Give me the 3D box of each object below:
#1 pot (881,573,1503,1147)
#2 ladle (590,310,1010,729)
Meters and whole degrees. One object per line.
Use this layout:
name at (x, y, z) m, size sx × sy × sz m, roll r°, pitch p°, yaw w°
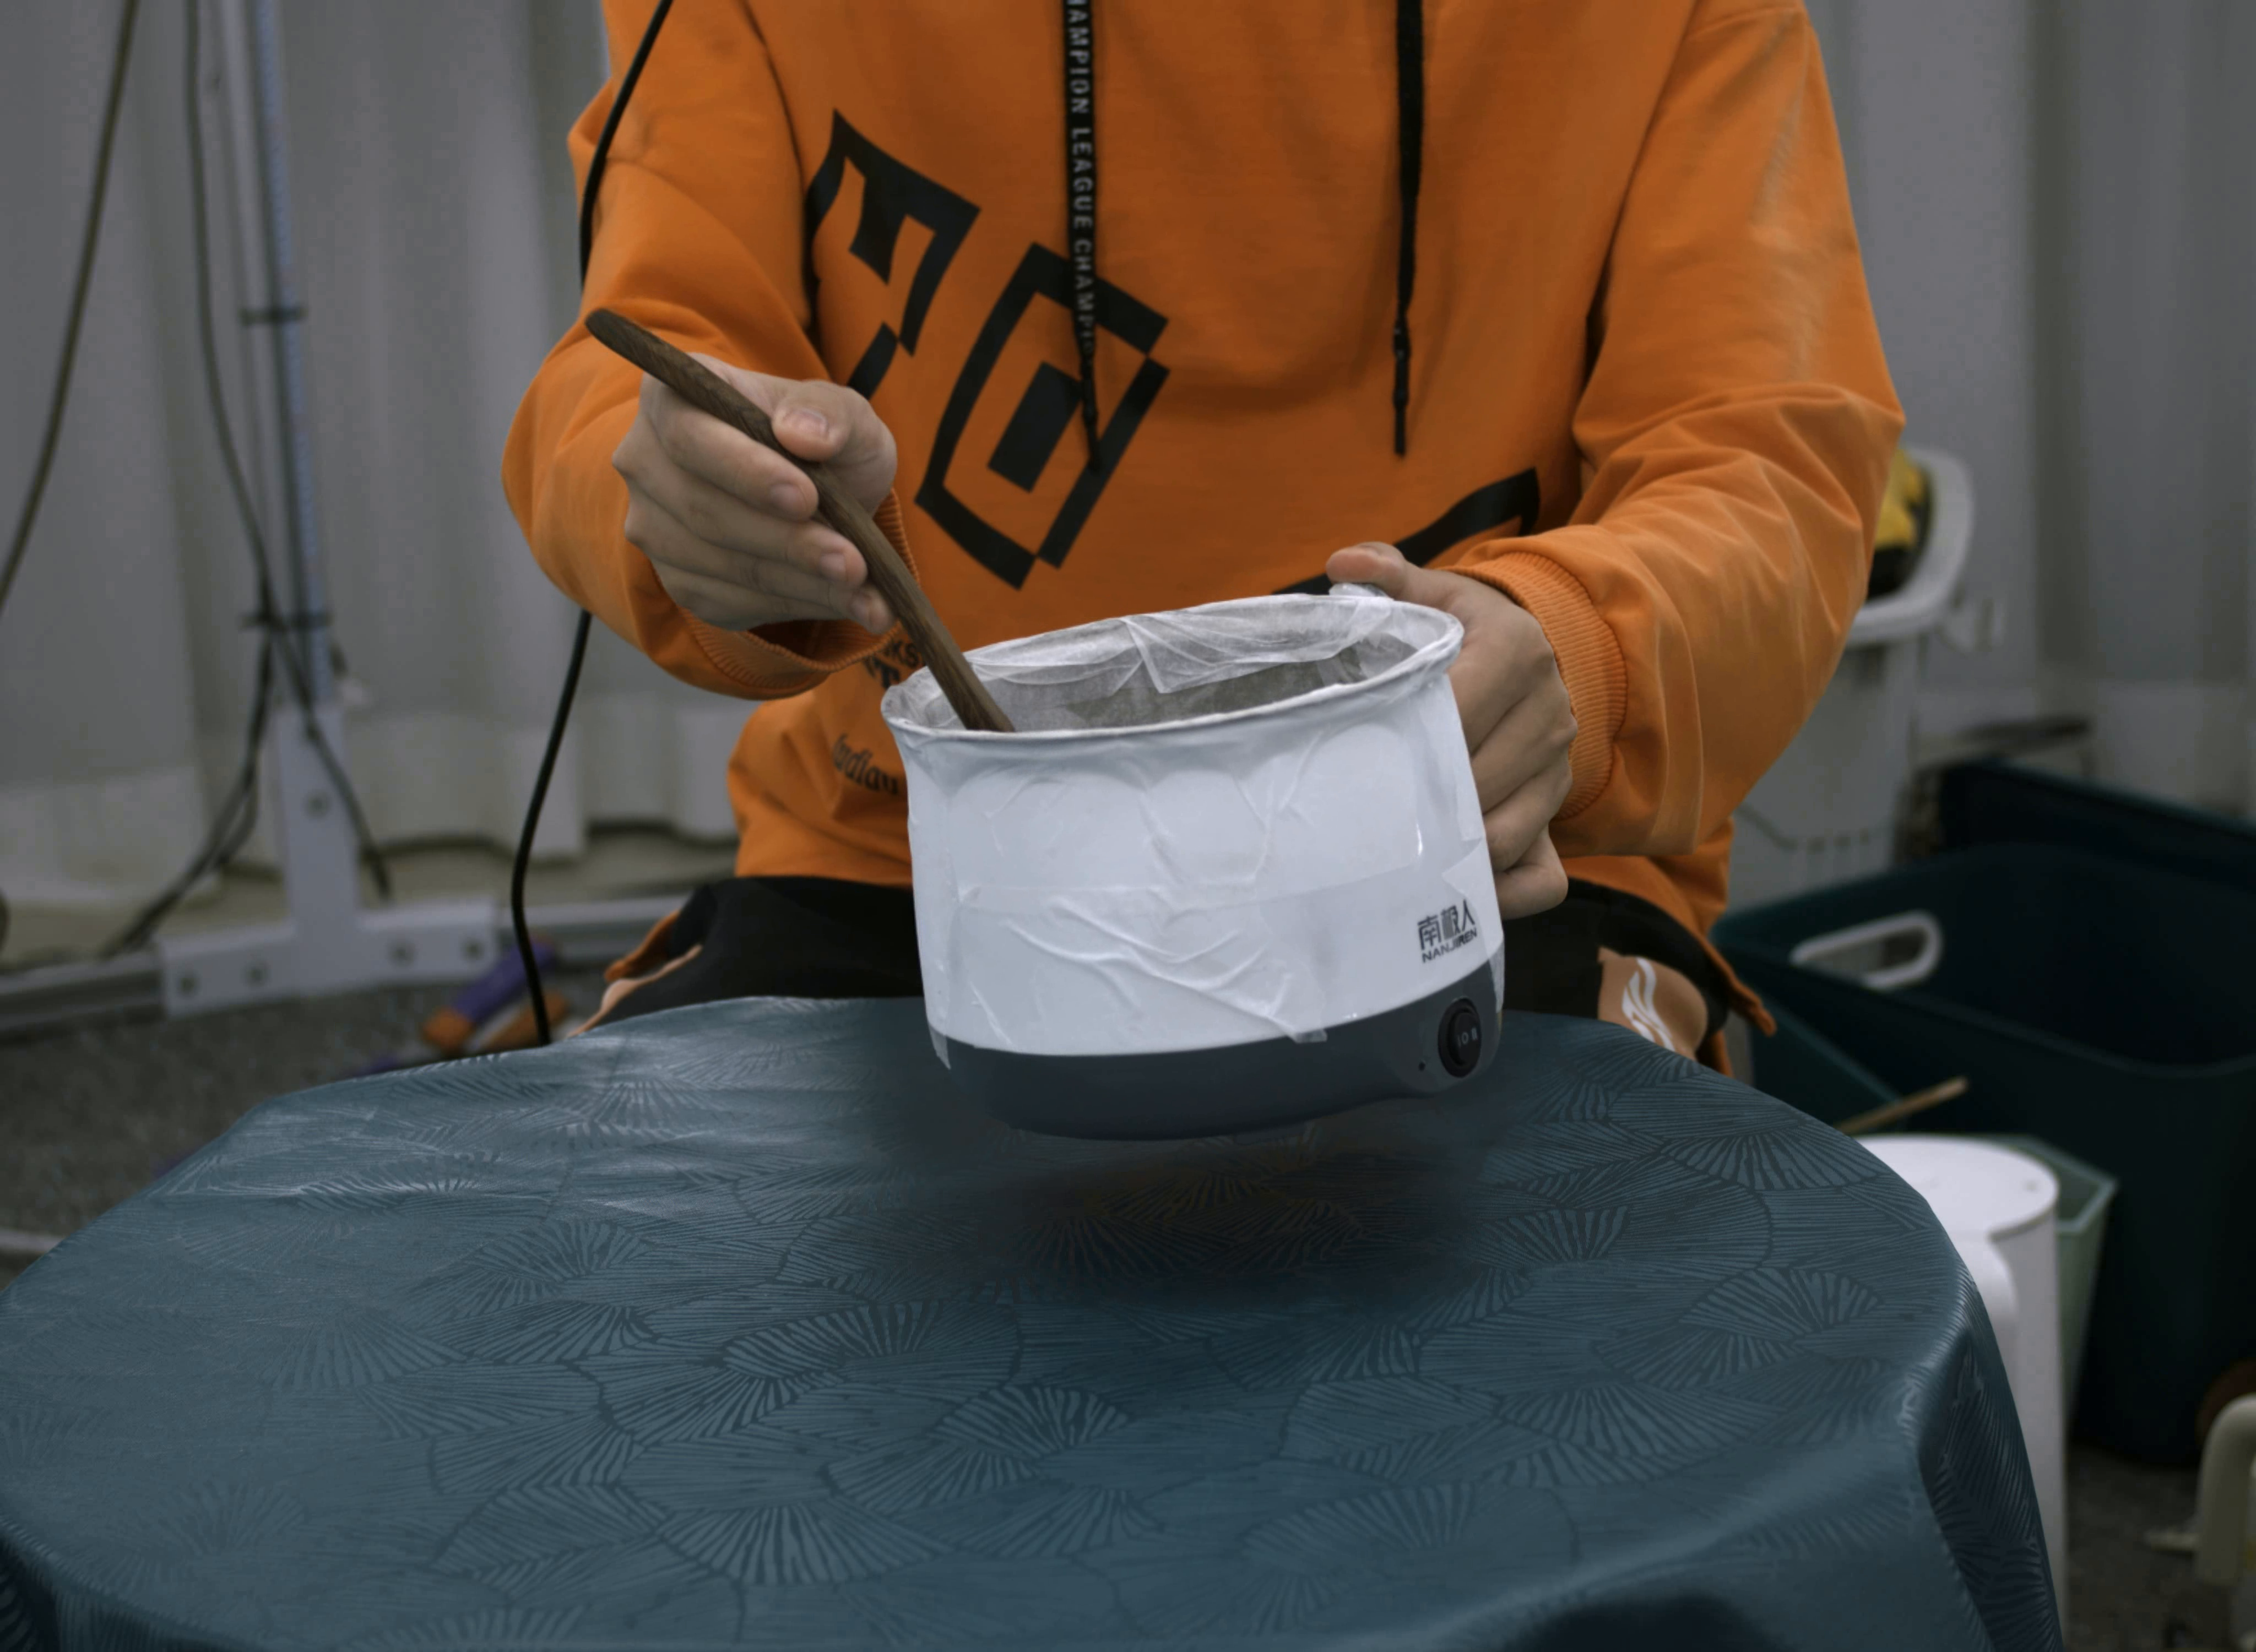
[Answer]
pot at (0.037, 0.006, 1.674) m, size 0.179 × 0.136 × 0.234 m, roll 1°, pitch 15°, yaw 35°
ladle at (-0.050, -0.074, 1.650) m, size 0.071 × 0.275 × 0.076 m, roll -41°, pitch -8°, yaw 6°
